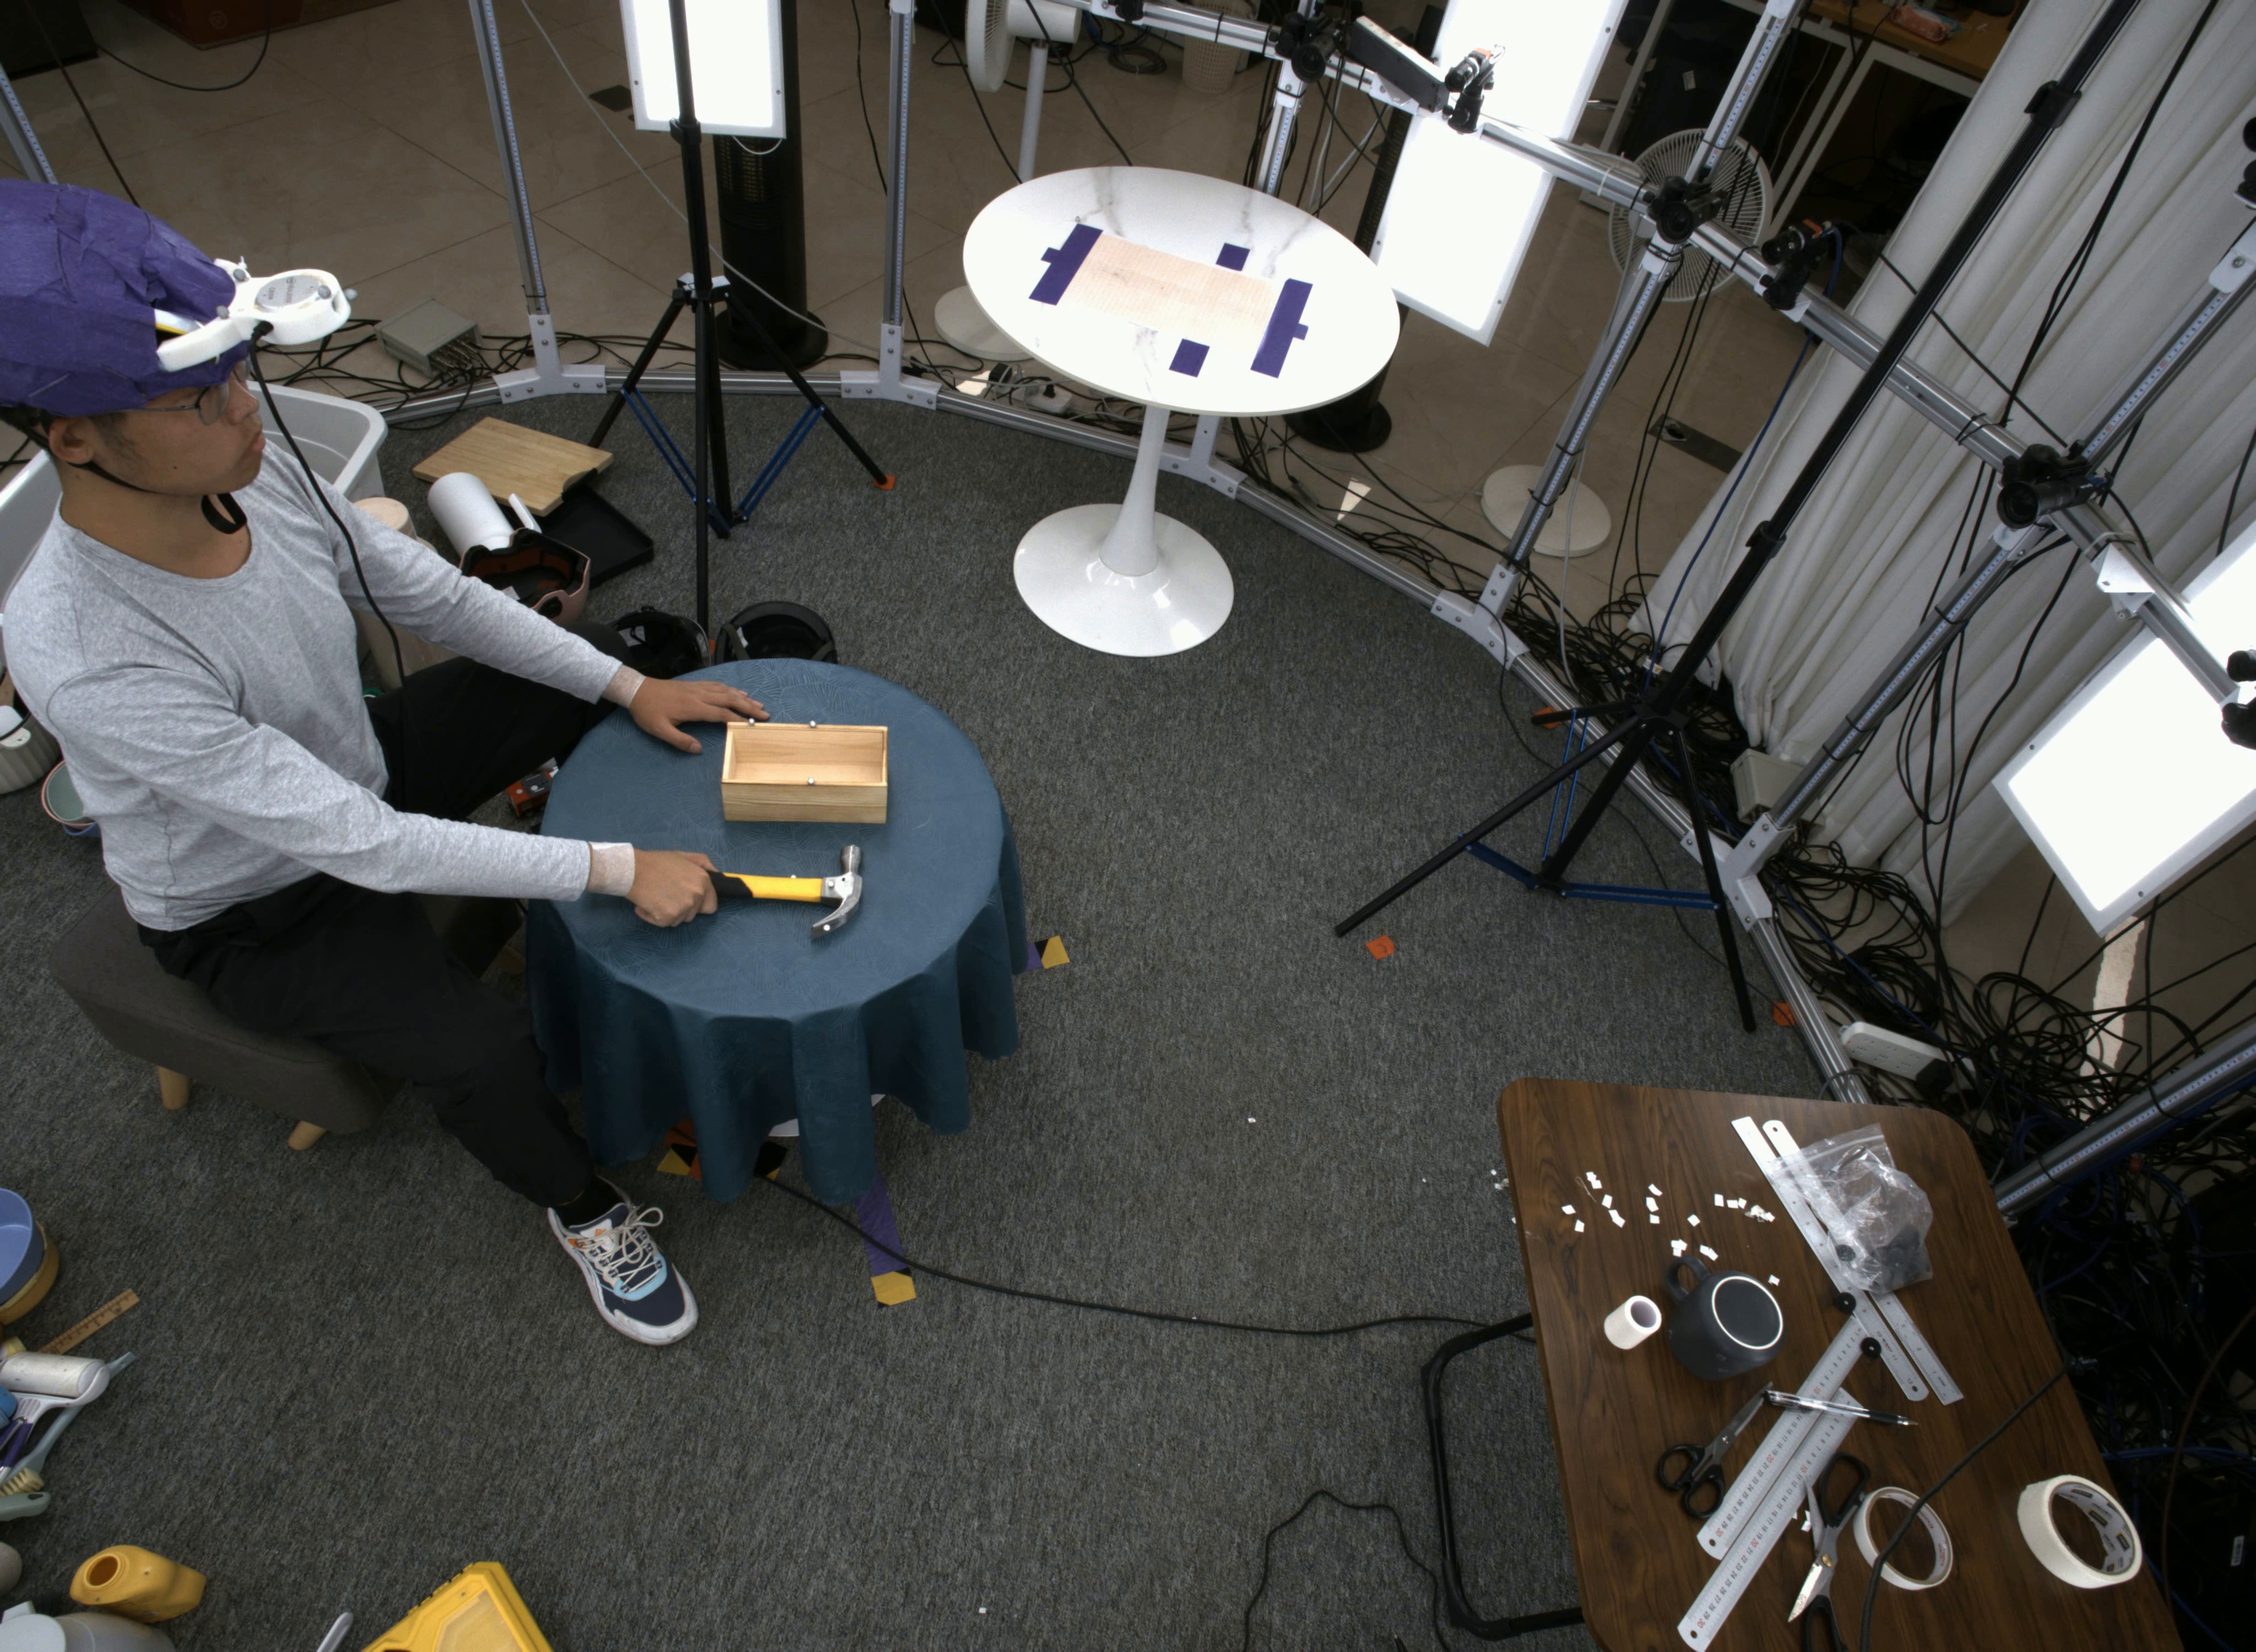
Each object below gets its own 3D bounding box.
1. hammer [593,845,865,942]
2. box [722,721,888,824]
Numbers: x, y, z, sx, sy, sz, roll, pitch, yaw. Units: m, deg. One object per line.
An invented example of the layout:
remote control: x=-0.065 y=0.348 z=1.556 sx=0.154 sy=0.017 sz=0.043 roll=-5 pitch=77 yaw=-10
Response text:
hammer: x=-0.503 y=0.074 z=1.625 sx=0.339 sy=0.033 sz=0.129 roll=4 pitch=56 yaw=-14
box: x=-0.427 y=-0.071 z=1.727 sx=0.211 sy=0.082 sz=0.105 roll=1 pitch=54 yaw=-13
